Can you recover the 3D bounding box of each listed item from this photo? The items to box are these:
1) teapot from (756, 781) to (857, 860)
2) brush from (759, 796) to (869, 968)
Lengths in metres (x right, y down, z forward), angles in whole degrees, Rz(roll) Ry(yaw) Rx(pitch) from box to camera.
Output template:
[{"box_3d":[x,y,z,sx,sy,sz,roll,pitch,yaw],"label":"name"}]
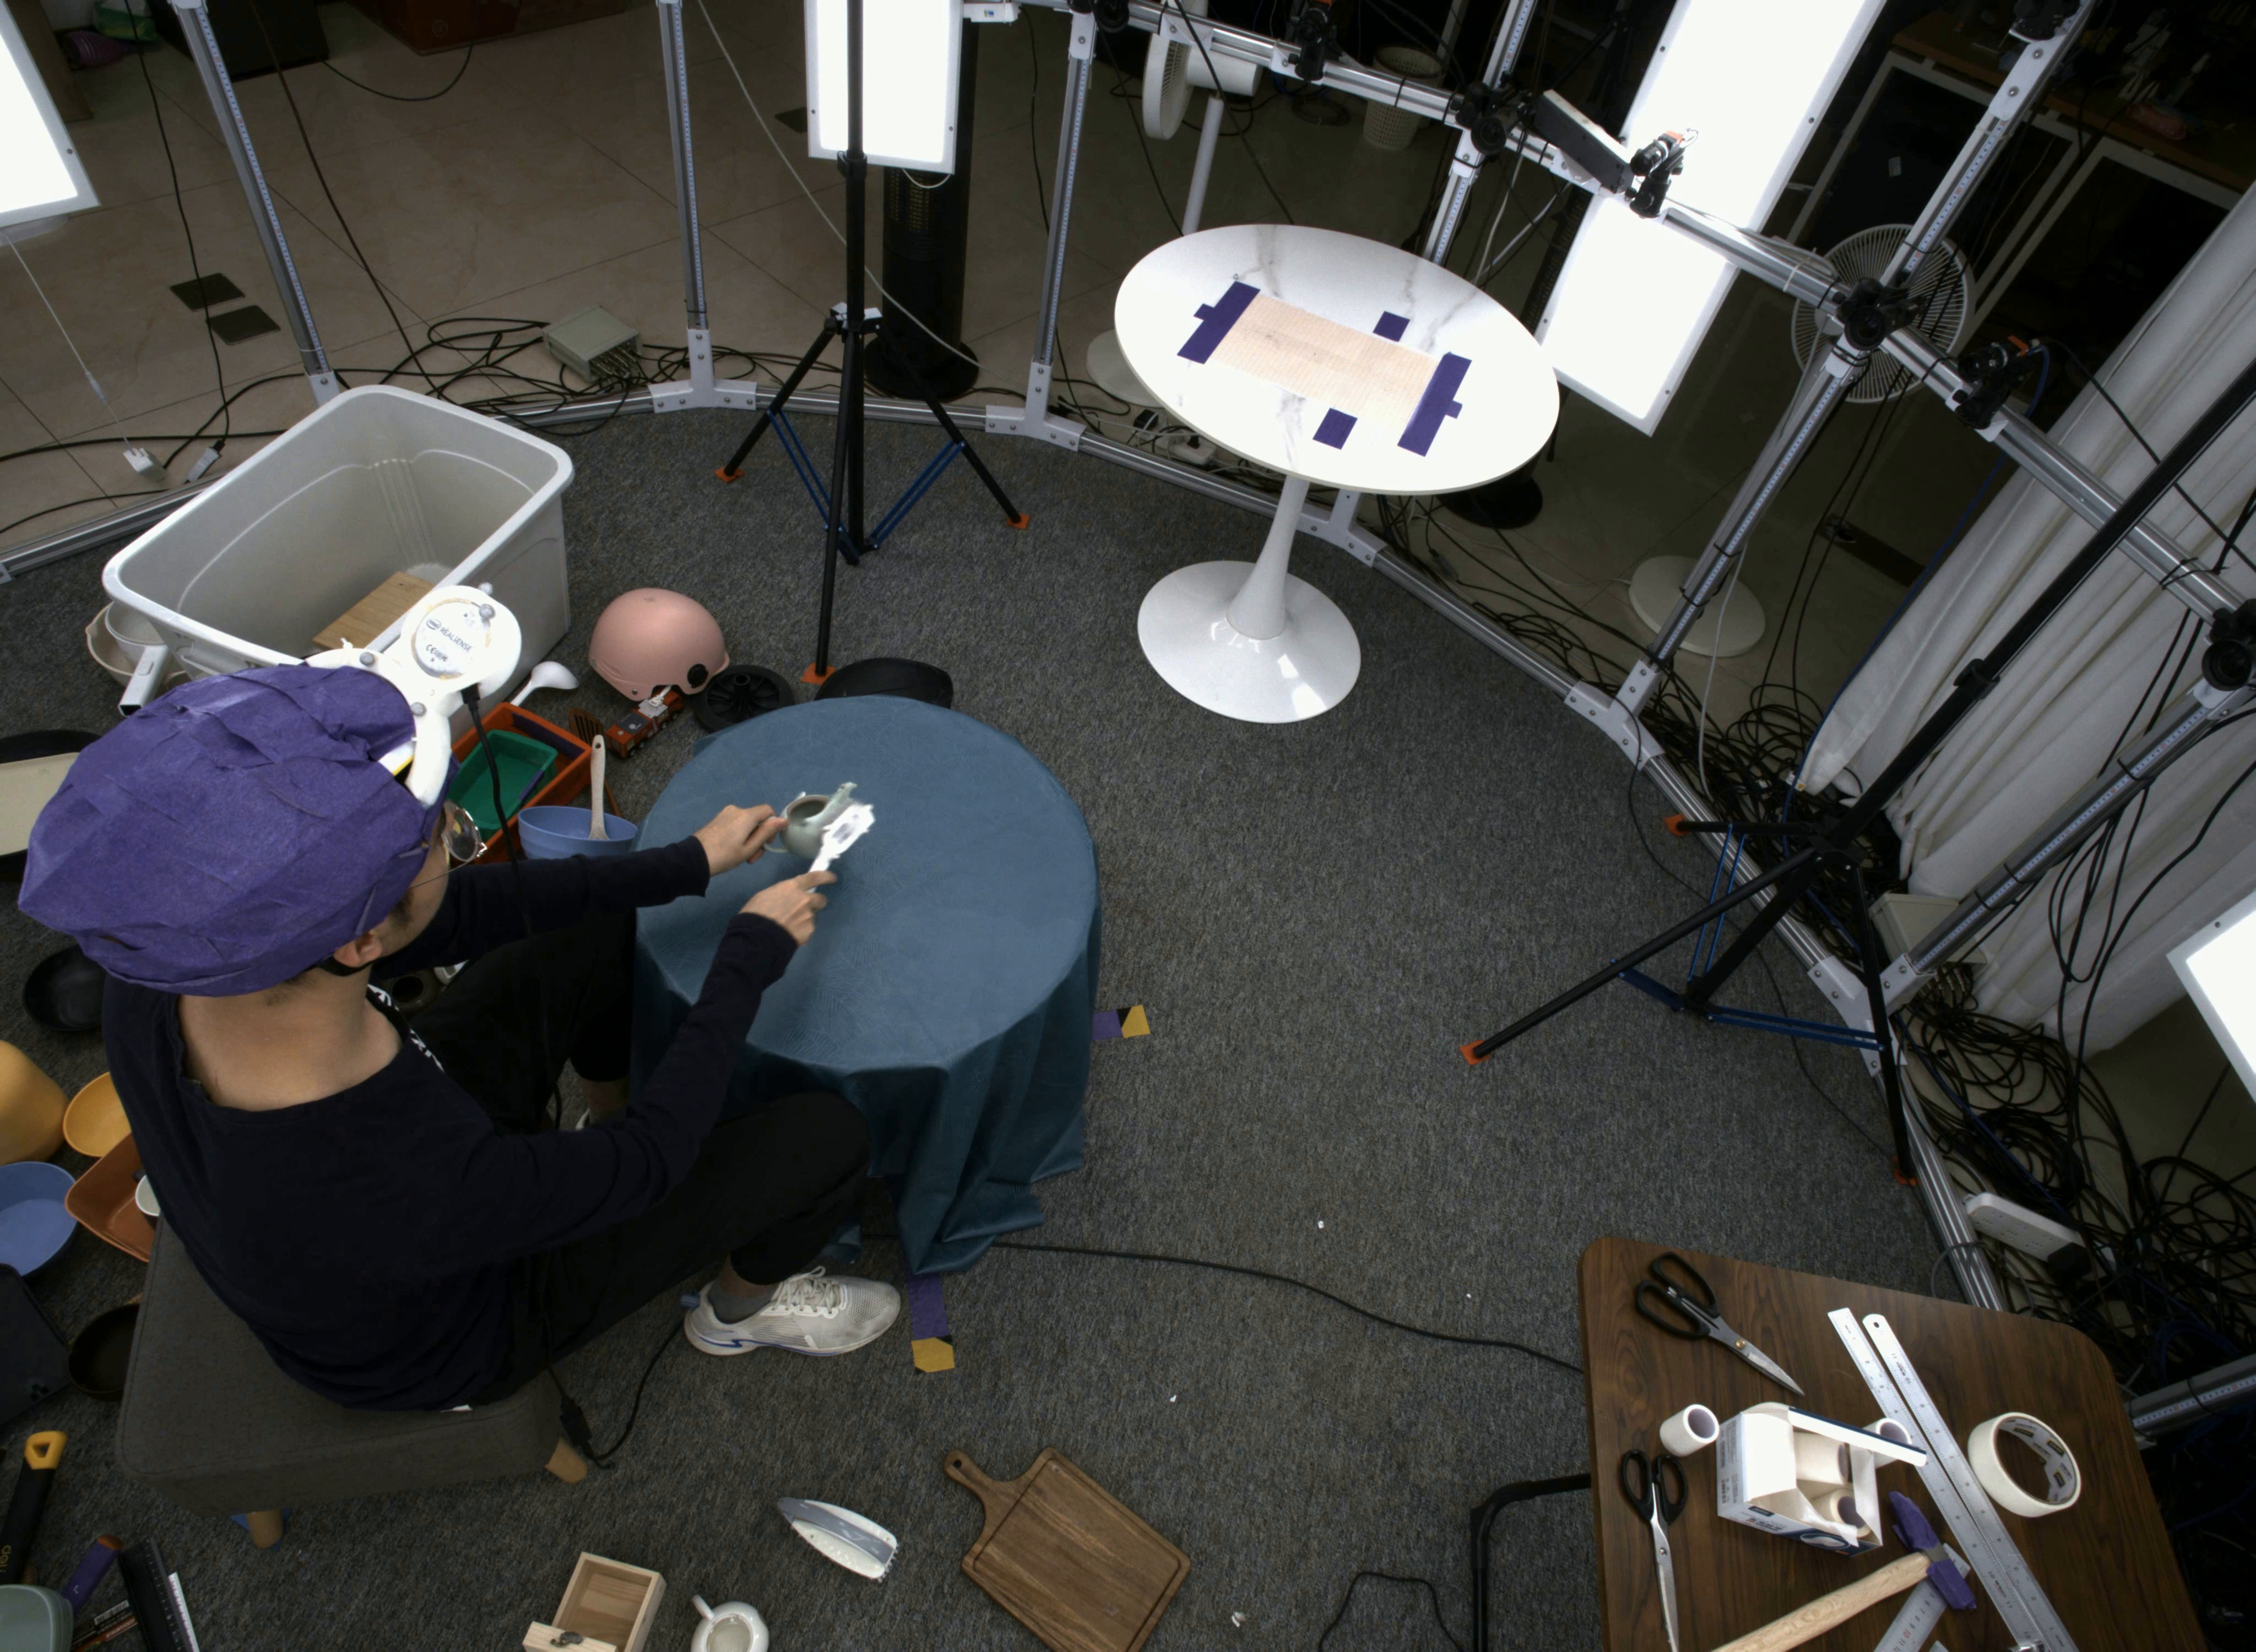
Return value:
[{"box_3d":[-0.399,-0.001,1.638,0.144,0.077,0.085,-26,39,-28],"label":"teapot"},{"box_3d":[-0.386,0.063,1.551,0.048,0.036,0.242,3,53,36],"label":"brush"}]
